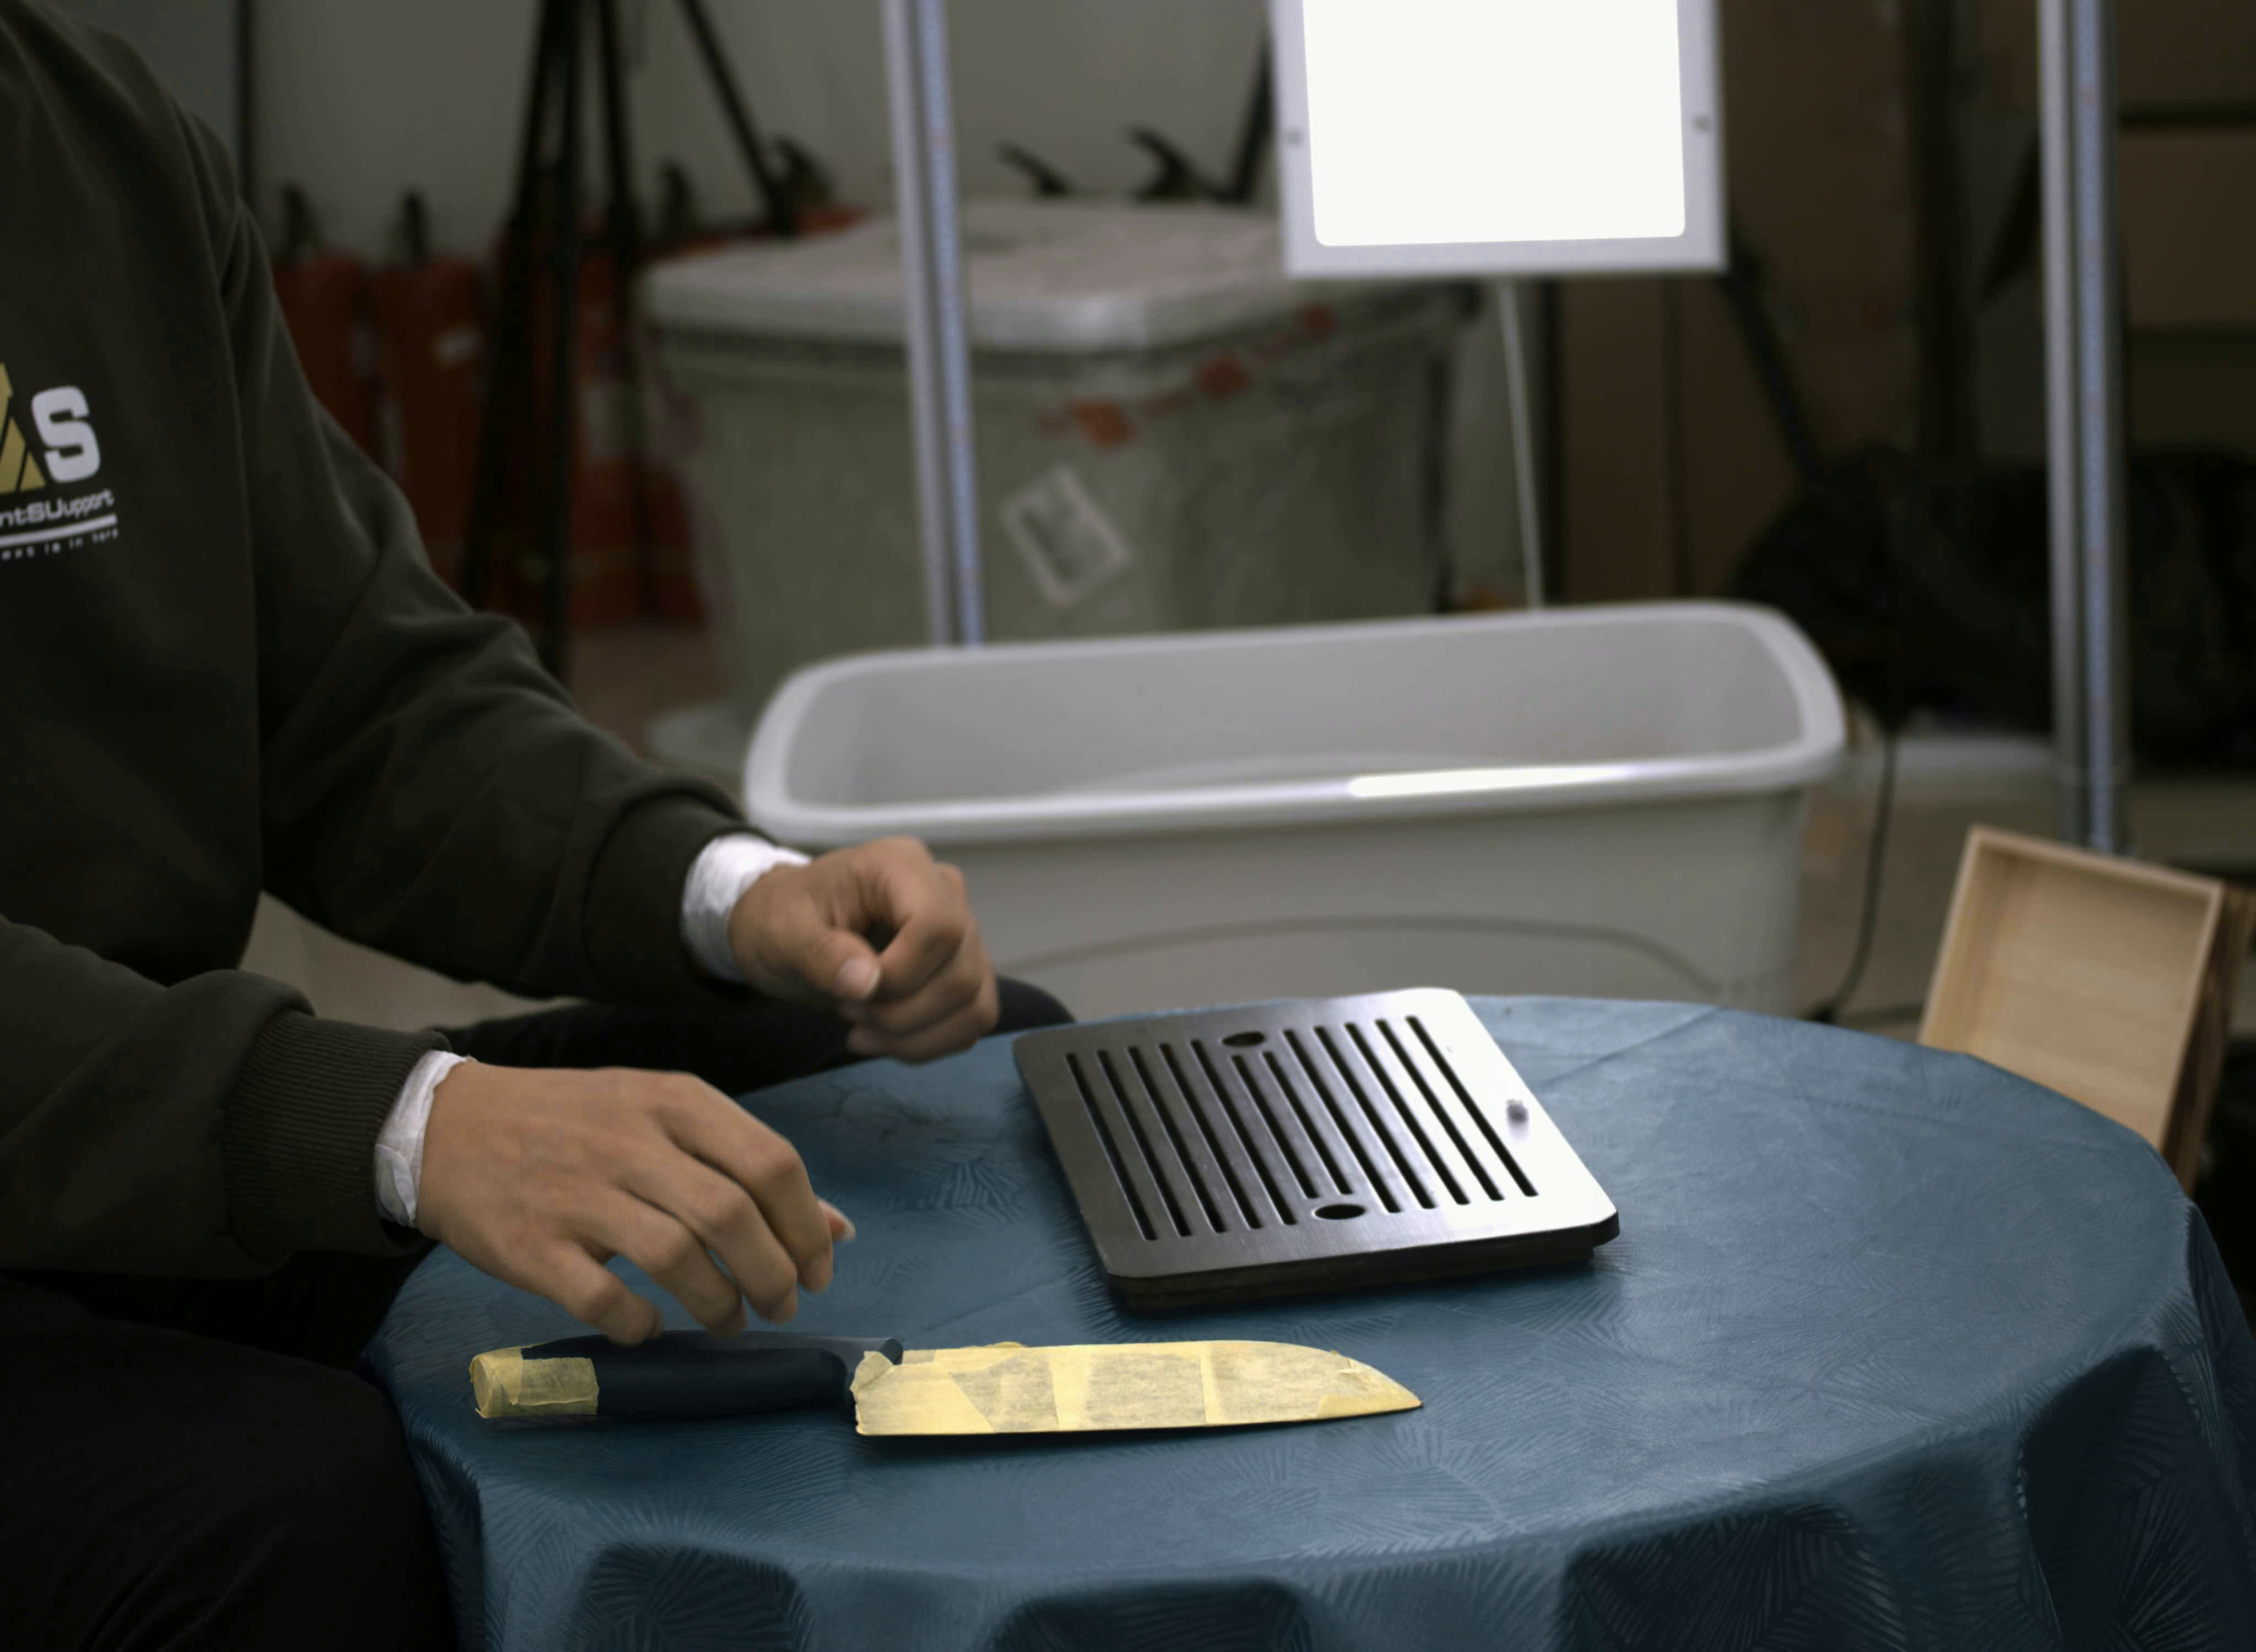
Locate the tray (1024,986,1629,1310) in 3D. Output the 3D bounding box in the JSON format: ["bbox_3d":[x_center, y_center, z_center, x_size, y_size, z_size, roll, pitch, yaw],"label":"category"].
[{"bbox_3d":[0.063,0.109,1.913,0.169,0.019,0.307,-7,13,-5],"label":"tray"}]

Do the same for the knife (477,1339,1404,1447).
[{"bbox_3d":[-0.058,0.175,1.695,0.290,0.027,0.080,-3,12,5],"label":"knife"}]
